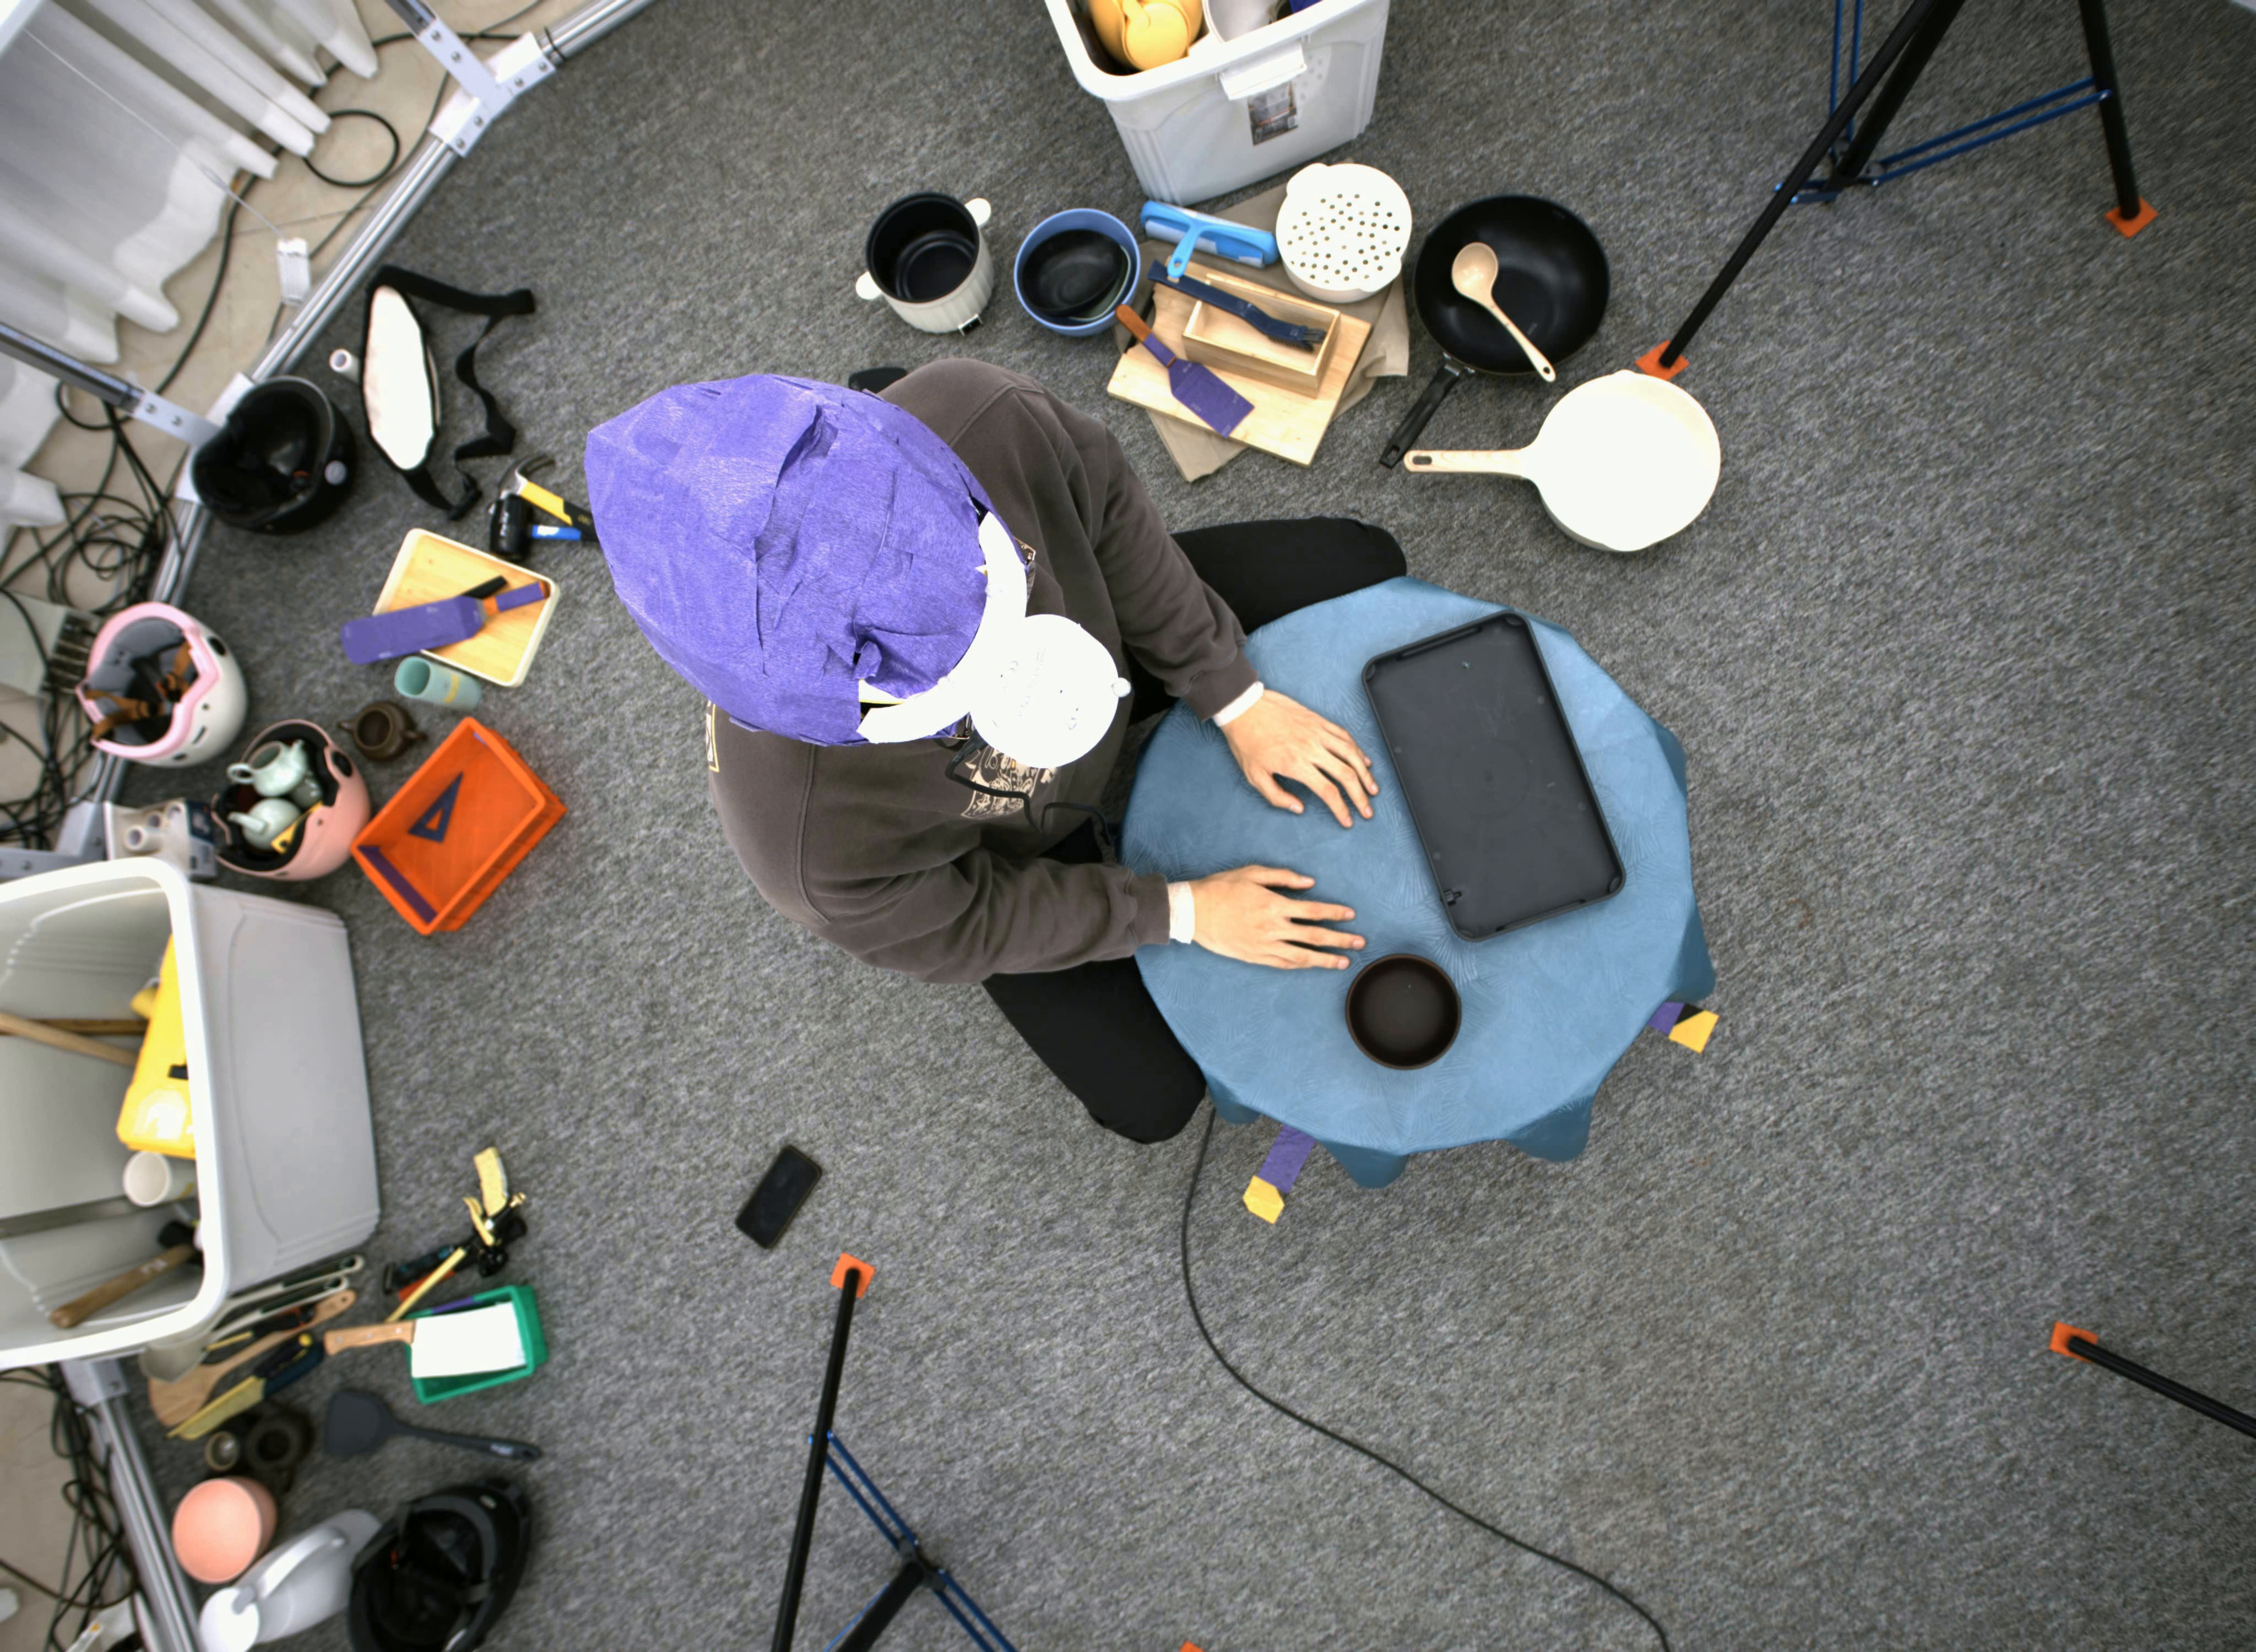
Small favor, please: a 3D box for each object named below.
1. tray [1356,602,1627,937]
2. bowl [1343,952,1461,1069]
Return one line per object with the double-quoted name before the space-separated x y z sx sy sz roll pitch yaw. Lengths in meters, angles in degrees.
"tray" 0.375 -0.060 1.427 0.185 0.037 0.316 -21 84 9
"bowl" 0.280 0.187 1.414 0.118 0.070 0.117 -1 86 12
